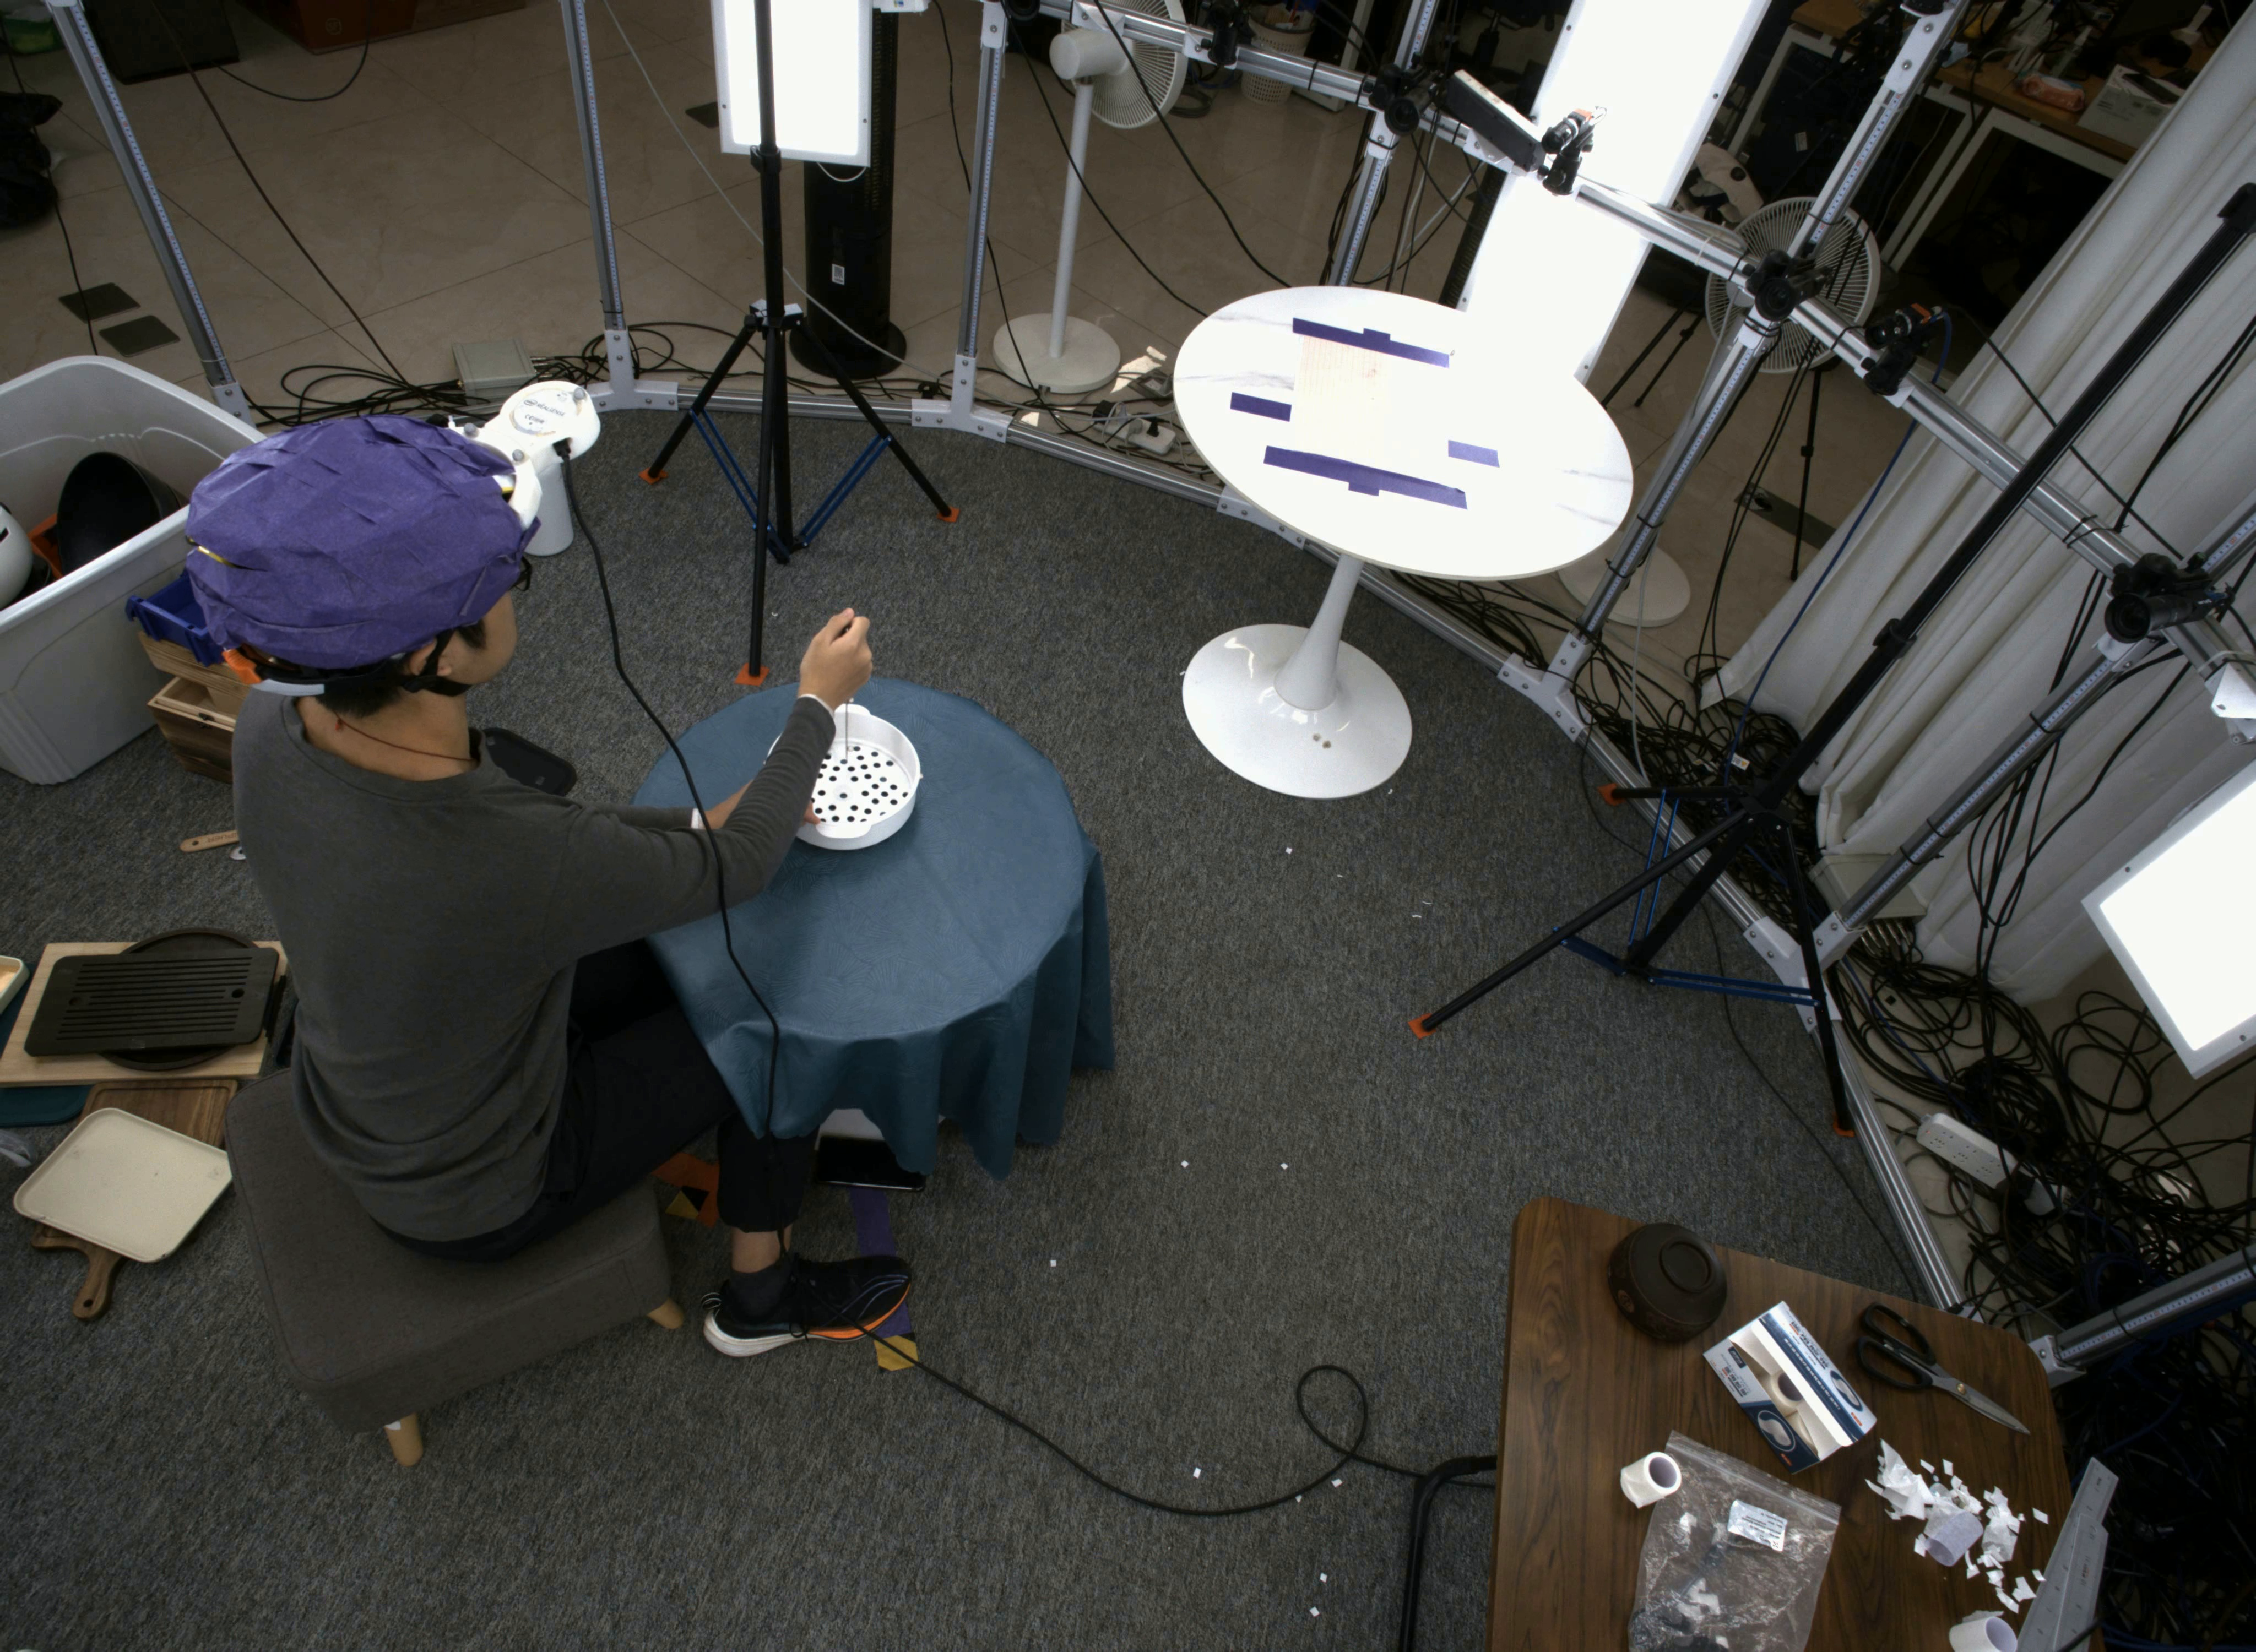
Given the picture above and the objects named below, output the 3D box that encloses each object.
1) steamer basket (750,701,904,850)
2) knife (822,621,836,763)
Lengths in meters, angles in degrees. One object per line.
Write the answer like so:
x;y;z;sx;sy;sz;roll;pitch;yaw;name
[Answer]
-0.403;-0.062;1.743;0.202;0.070;0.226;0;55;-13;steamer basket
-0.391;-0.166;1.694;0.016;0.244;0.024;6;47;-6;knife
